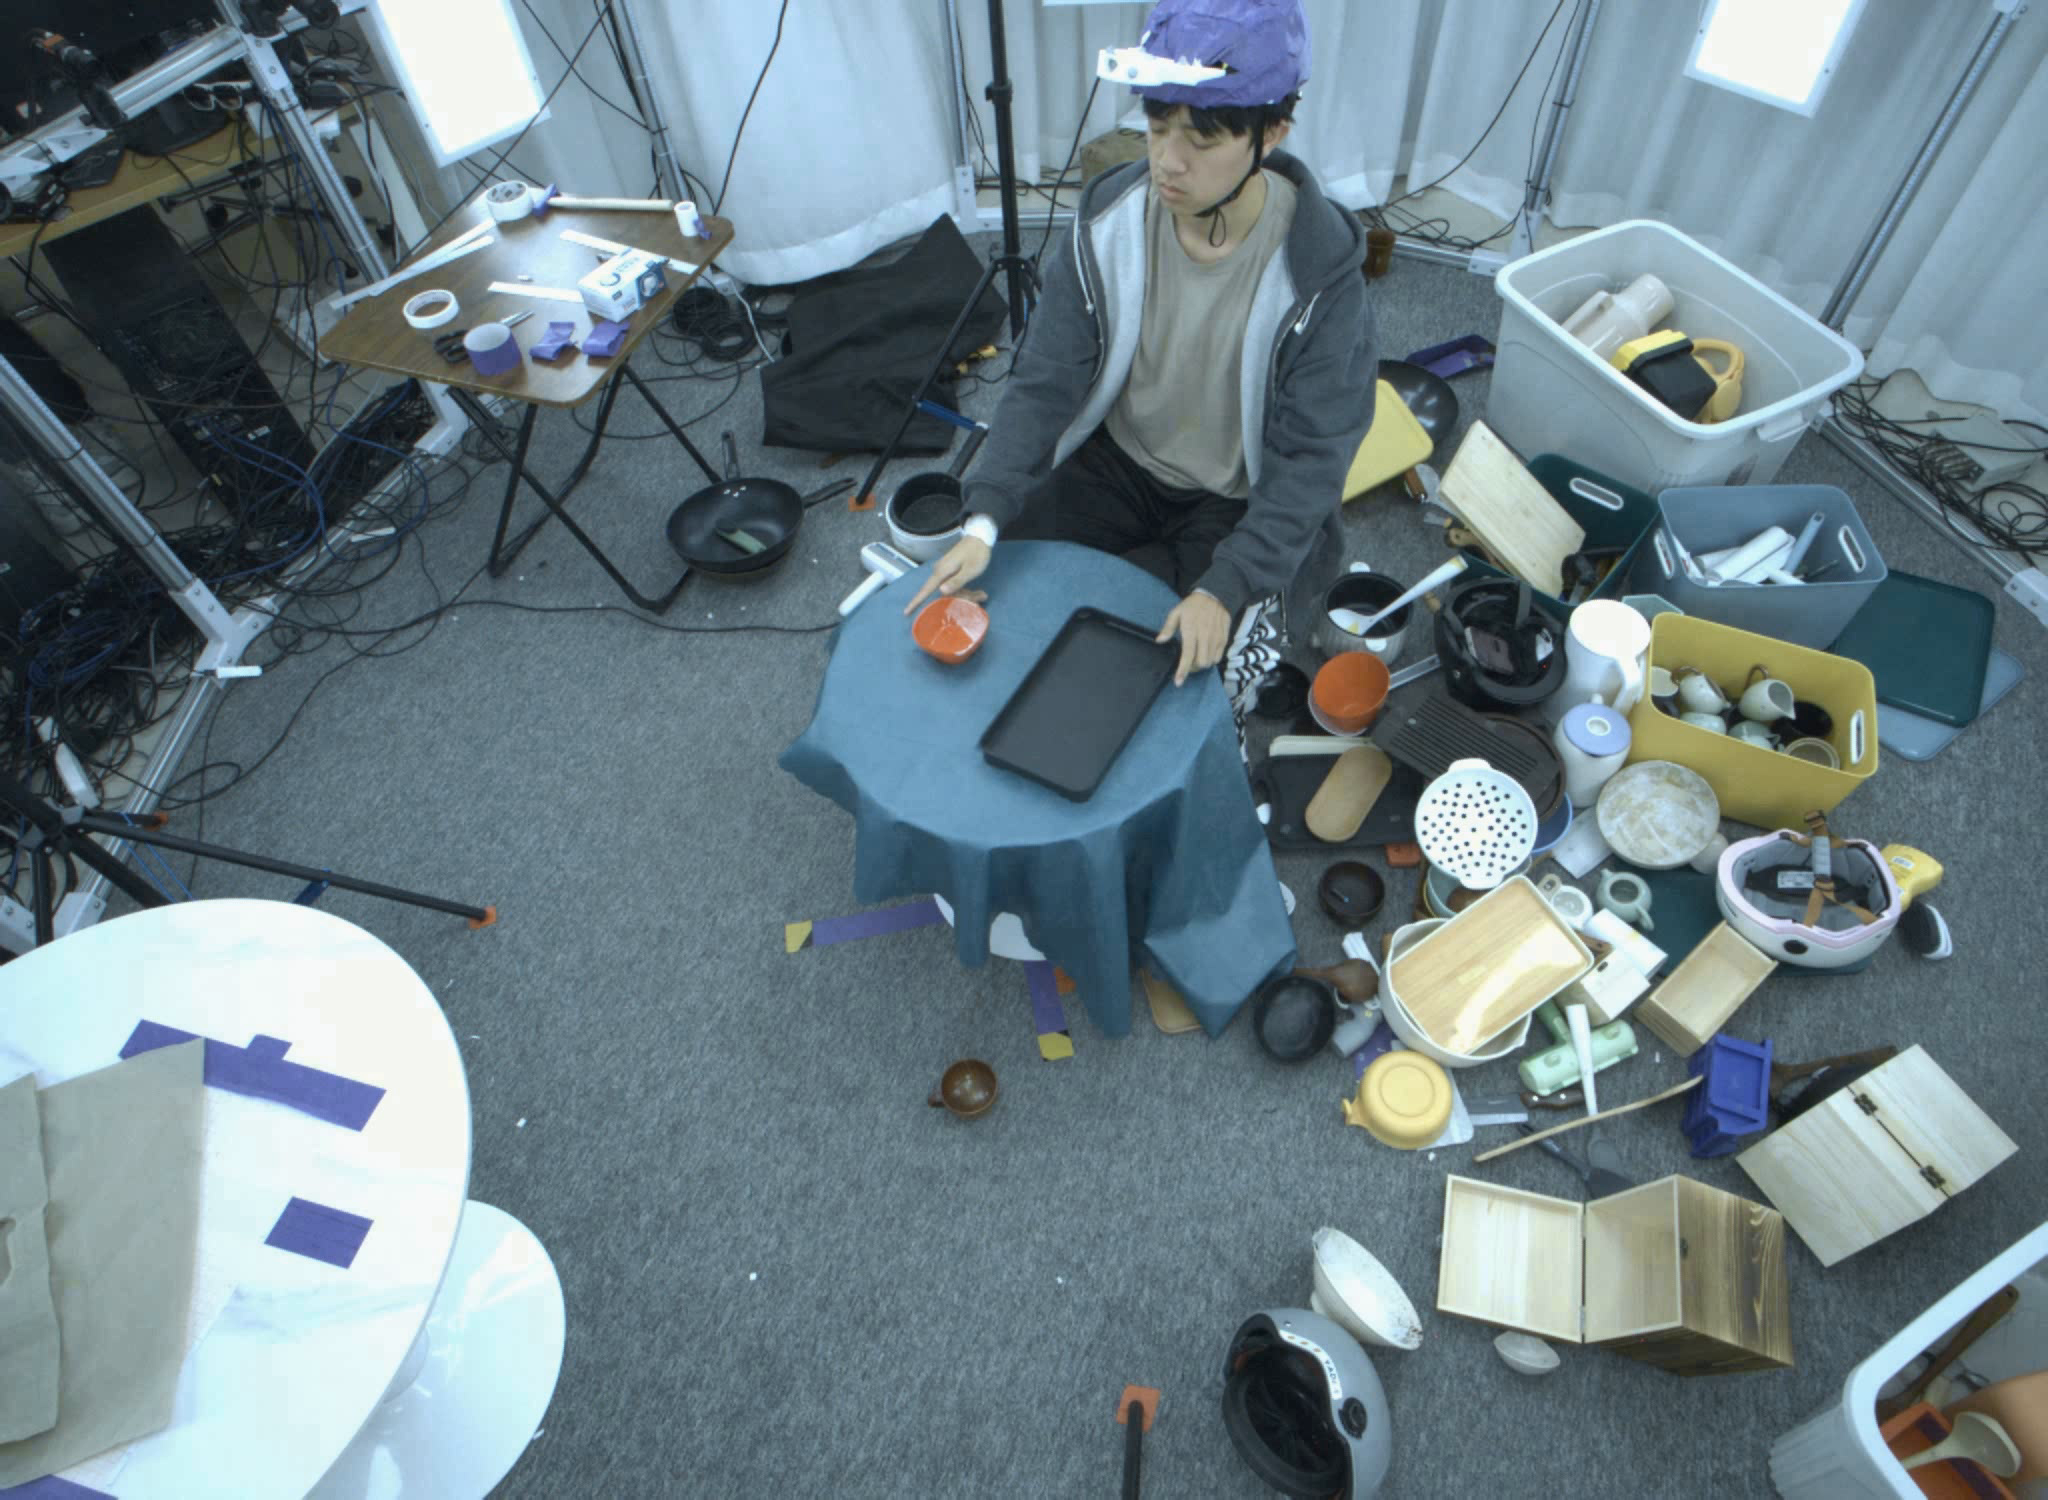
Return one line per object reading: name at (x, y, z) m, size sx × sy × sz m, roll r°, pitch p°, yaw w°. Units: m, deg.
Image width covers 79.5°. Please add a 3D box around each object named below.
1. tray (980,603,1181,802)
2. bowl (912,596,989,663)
tray at (0.087, -0.076, 1.818) m, size 0.182 × 0.037 × 0.319 m, roll 24°, pitch 59°, yaw 18°
bowl at (-0.111, -0.178, 1.886) m, size 0.119 × 0.052 × 0.118 m, roll -1°, pitch 56°, yaw 3°
